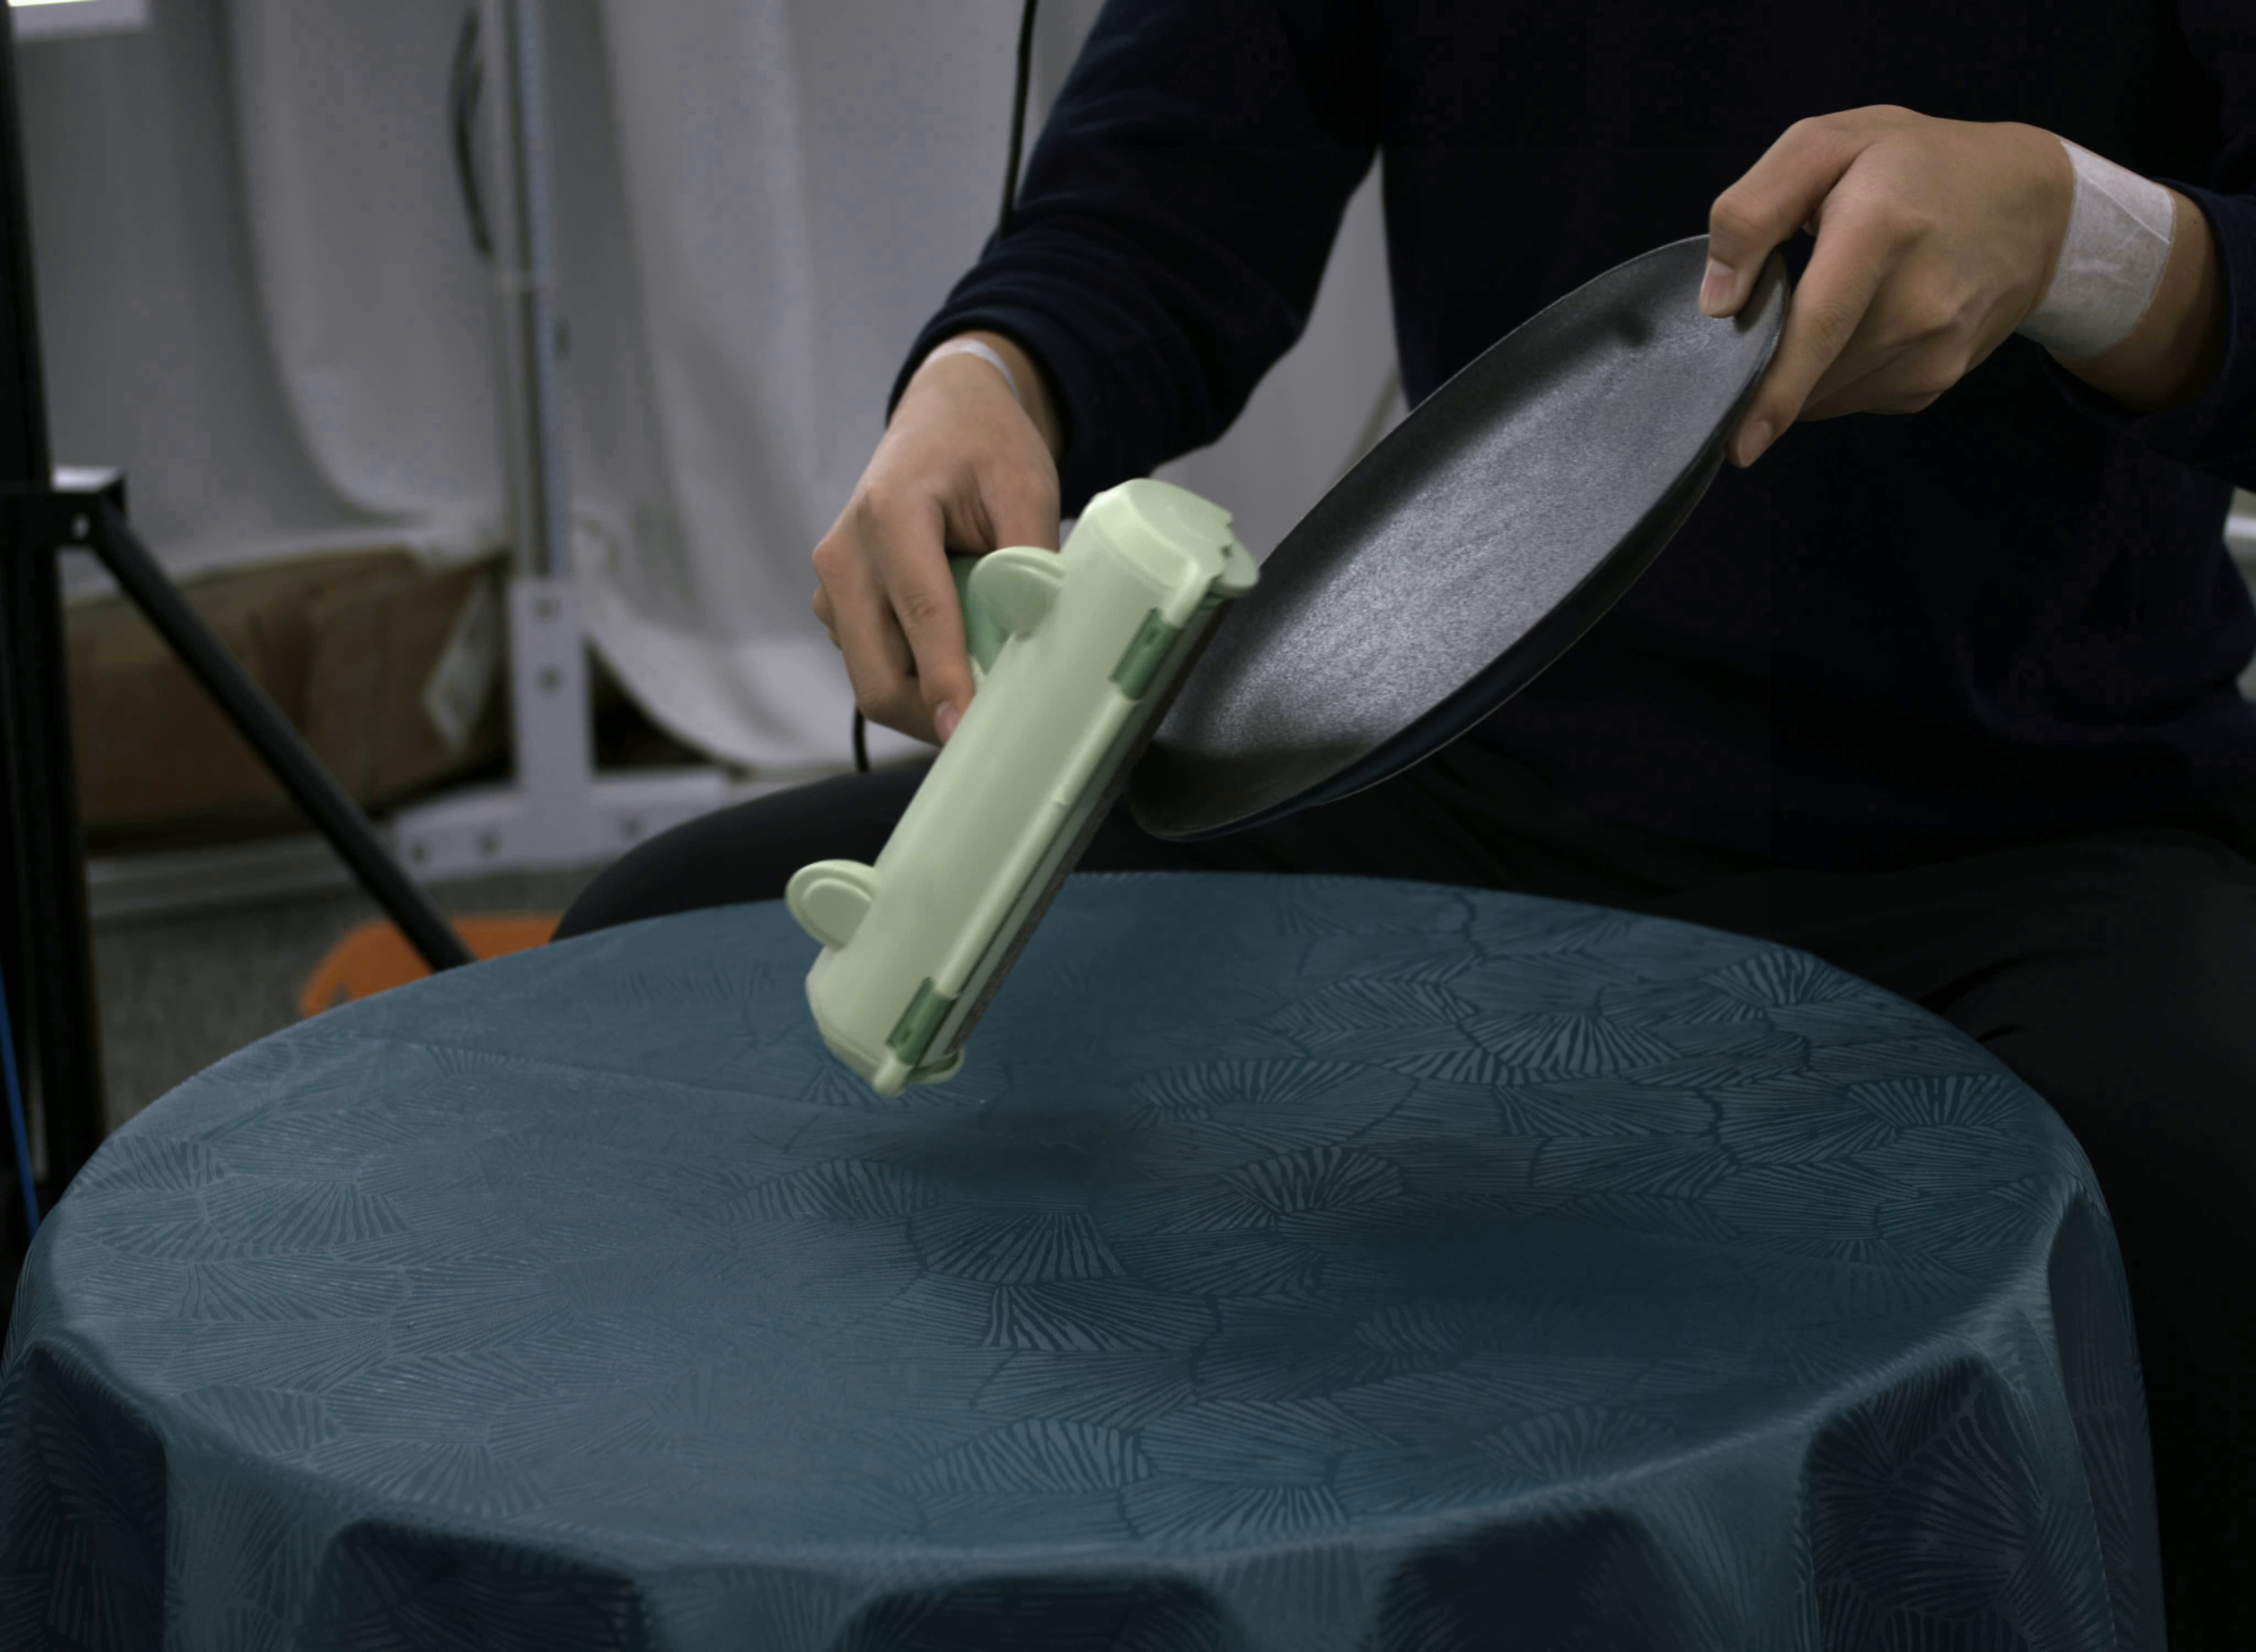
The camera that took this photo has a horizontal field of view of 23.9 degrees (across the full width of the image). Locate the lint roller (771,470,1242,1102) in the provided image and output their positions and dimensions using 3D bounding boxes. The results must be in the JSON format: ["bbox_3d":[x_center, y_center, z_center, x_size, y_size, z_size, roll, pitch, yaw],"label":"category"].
[{"bbox_3d":[-0.058,-0.044,1.595,0.080,0.200,0.187,16,27,-33],"label":"lint roller"}]

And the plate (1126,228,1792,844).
[{"bbox_3d":[0.097,-0.077,1.507,0.245,0.023,0.246,-41,16,11],"label":"plate"}]
